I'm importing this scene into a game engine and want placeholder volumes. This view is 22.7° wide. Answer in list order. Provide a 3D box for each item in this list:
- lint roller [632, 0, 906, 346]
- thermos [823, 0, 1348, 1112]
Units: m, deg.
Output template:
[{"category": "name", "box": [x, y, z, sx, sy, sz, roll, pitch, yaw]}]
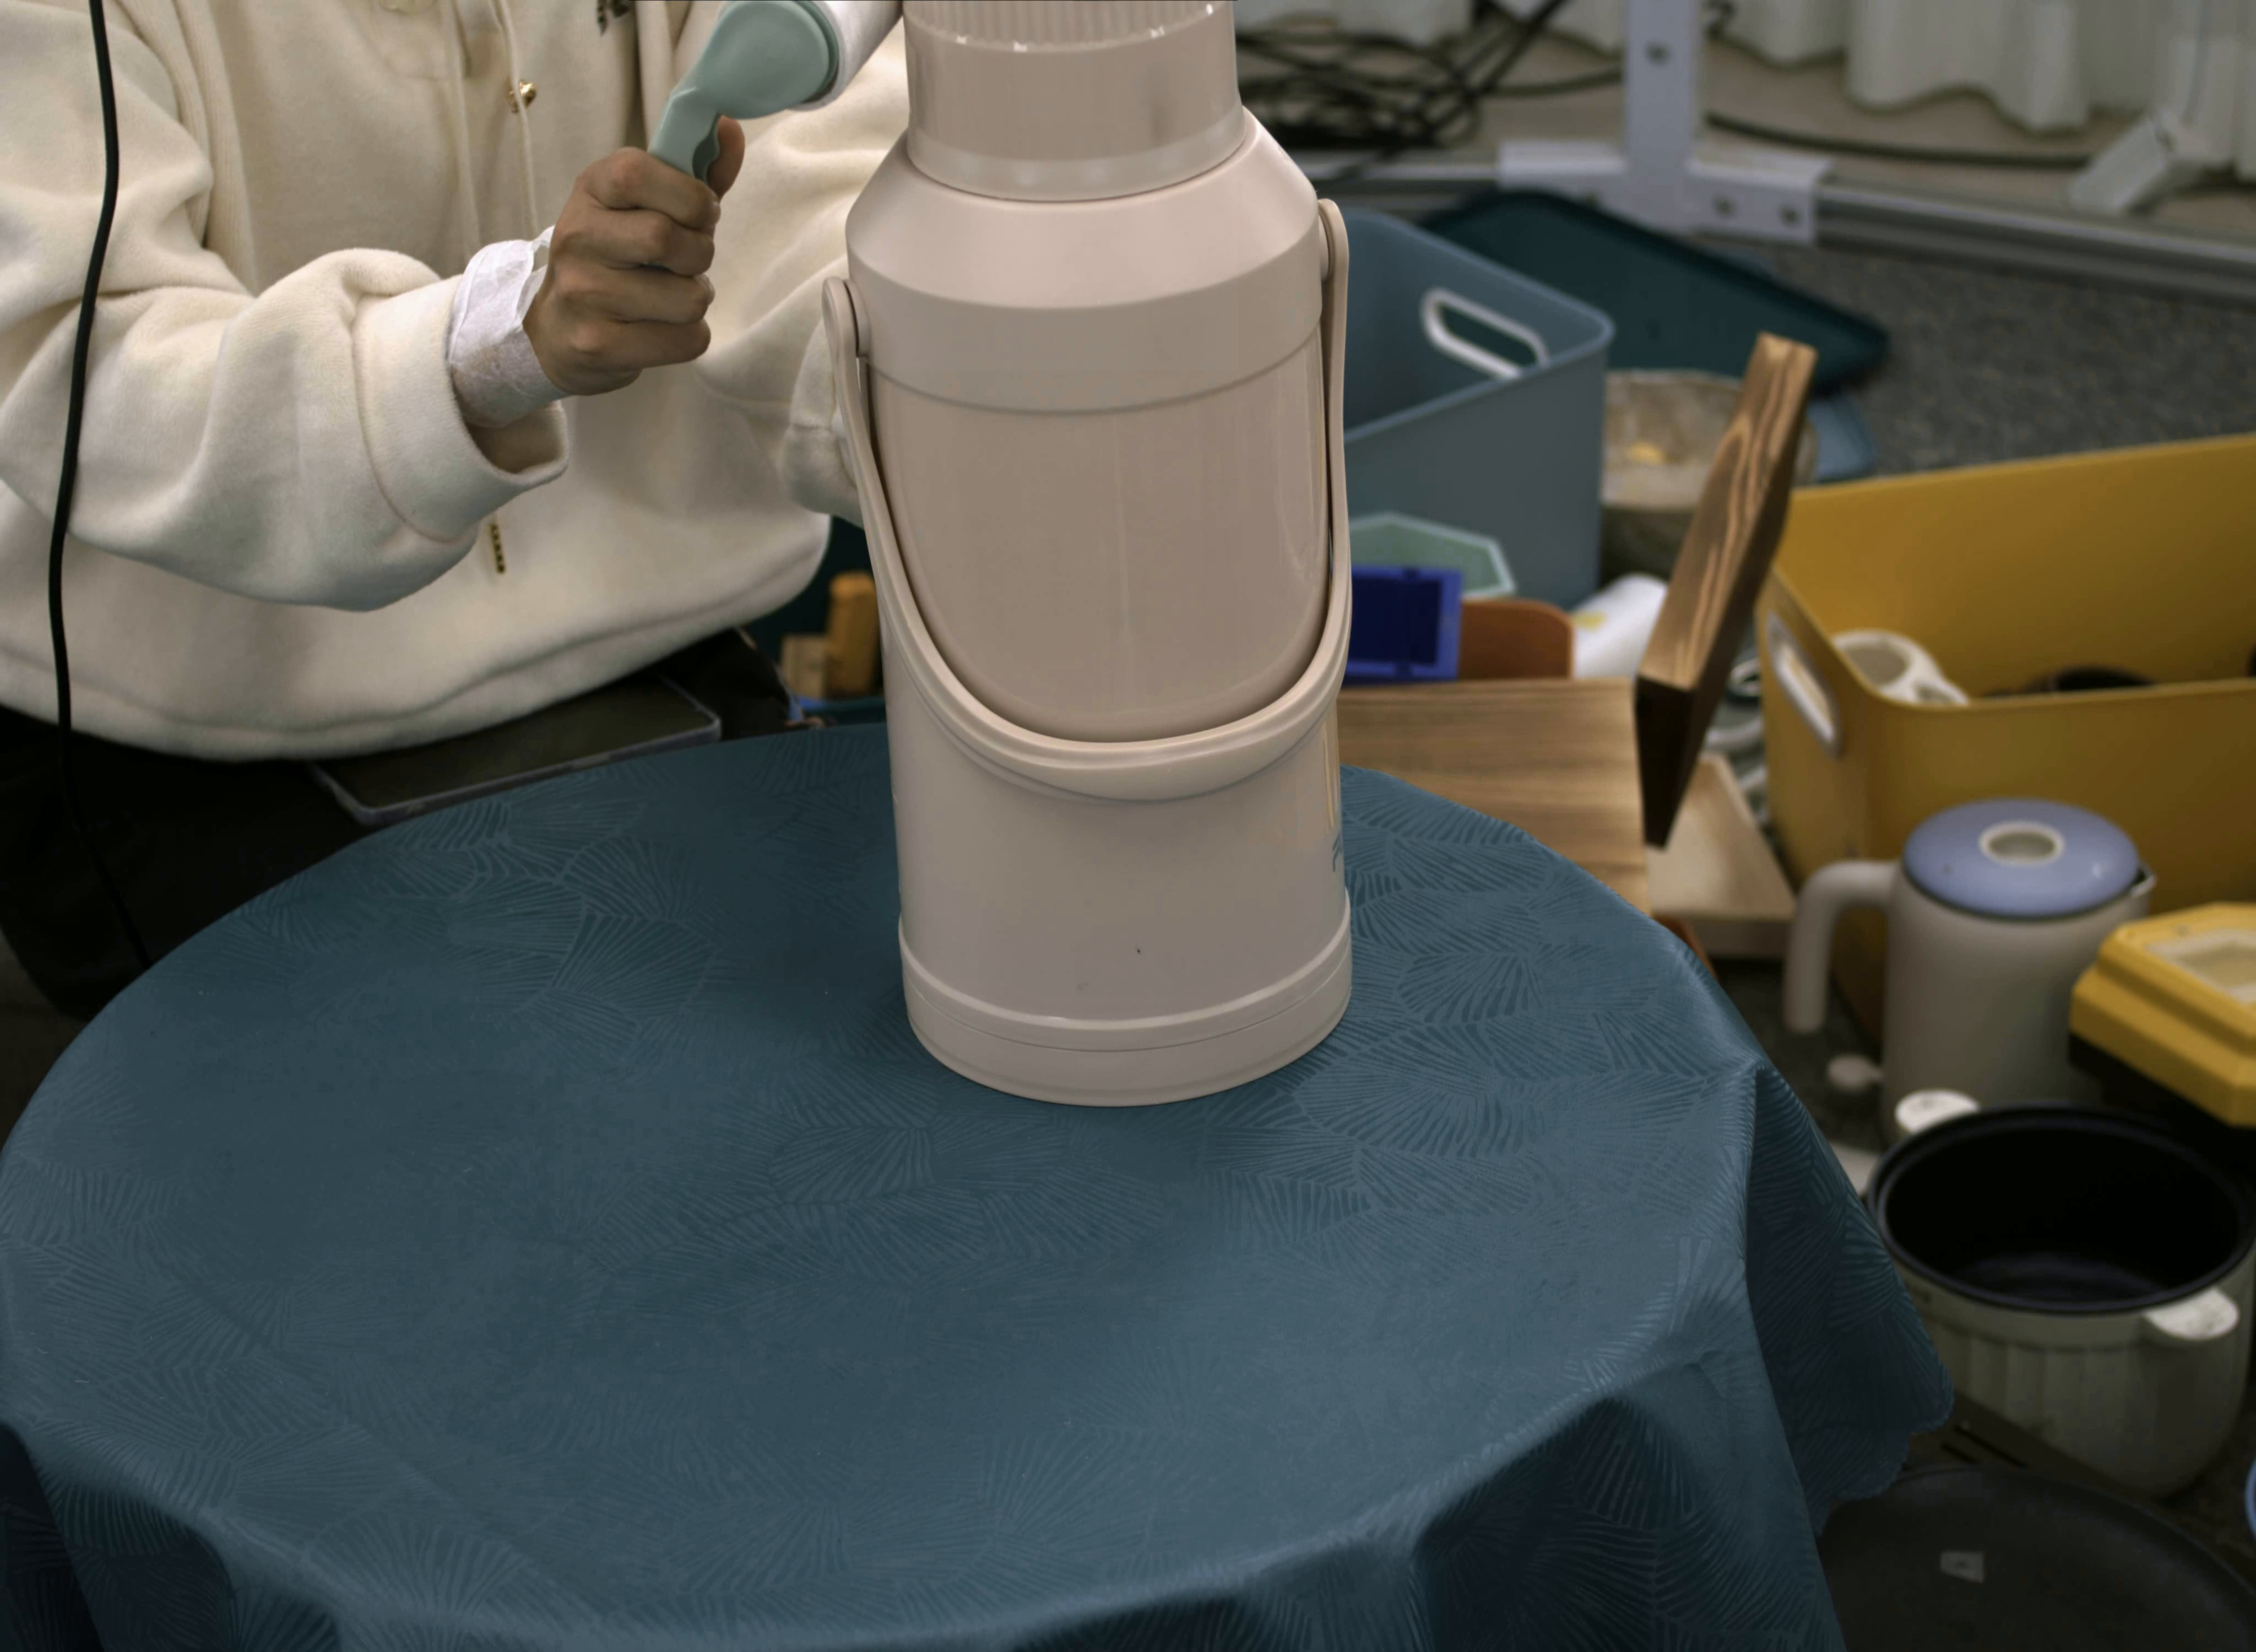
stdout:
[{"category": "lint roller", "box": [-0.127, -0.239, 1.888, 0.048, 0.194, 0.119, 35, 39, -6]}, {"category": "thermos", "box": [-0.013, -0.121, 1.907, 0.175, 0.402, 0.209, -10, 27, -13]}]
